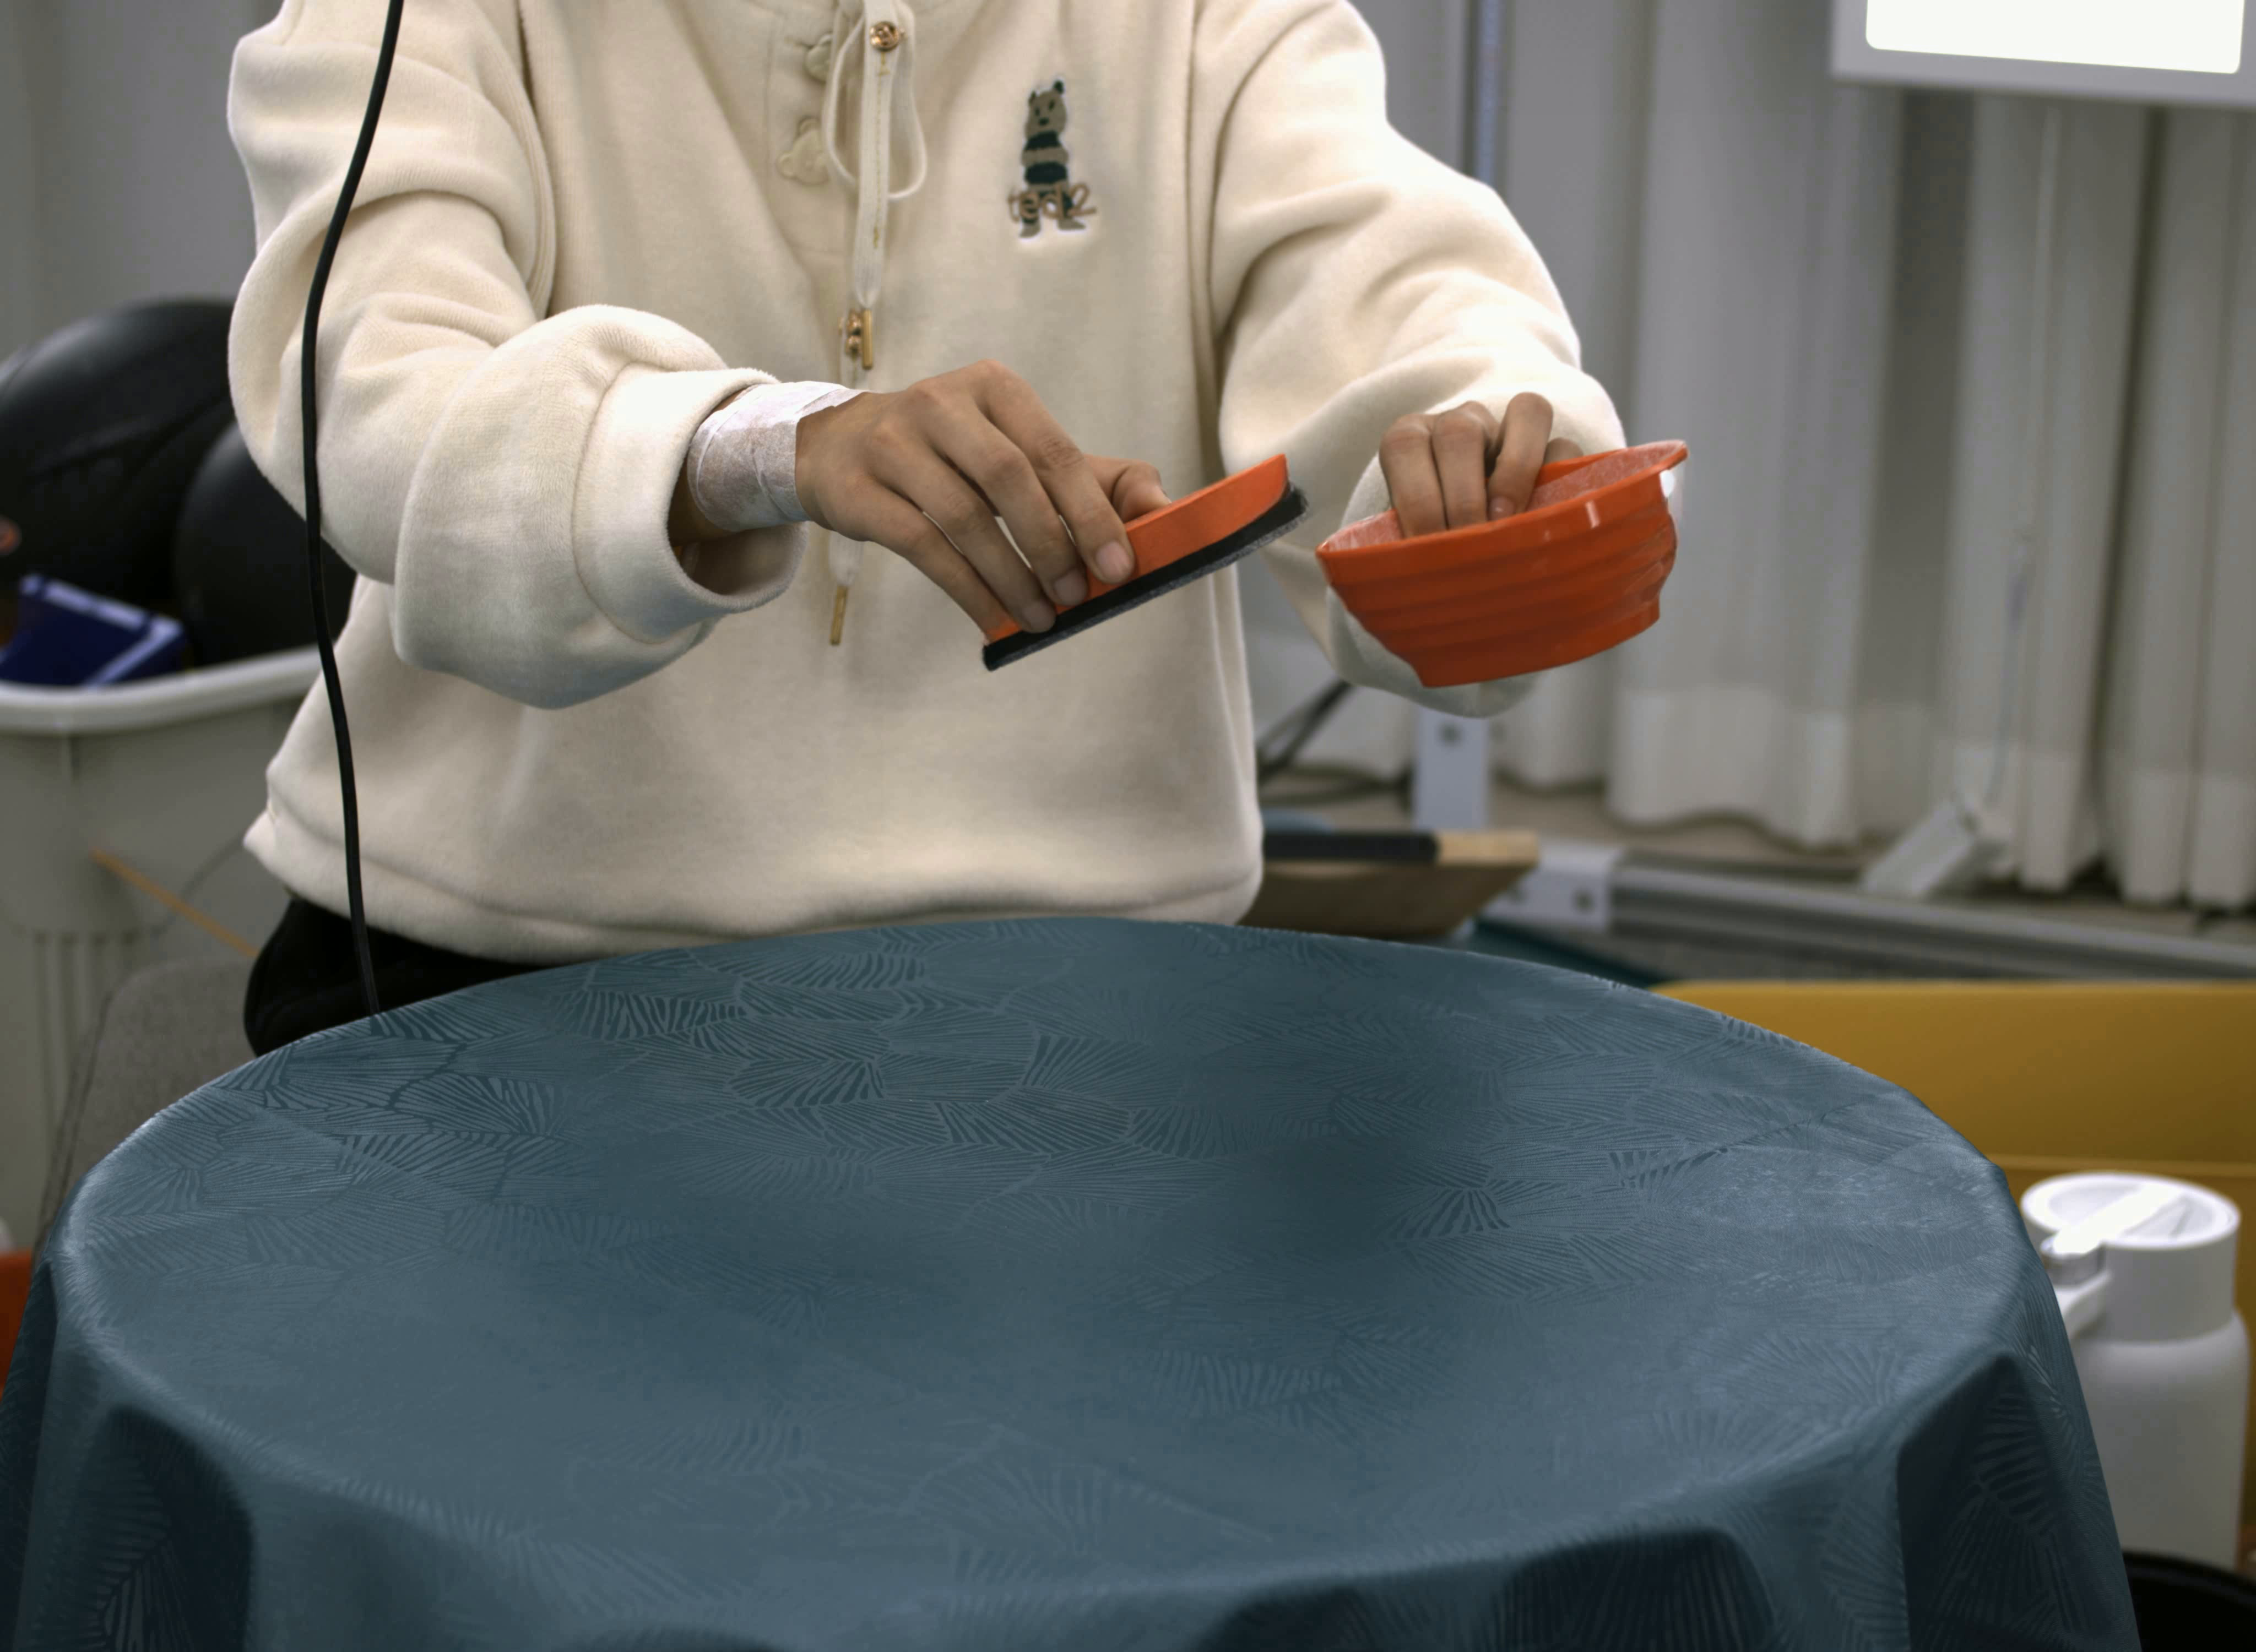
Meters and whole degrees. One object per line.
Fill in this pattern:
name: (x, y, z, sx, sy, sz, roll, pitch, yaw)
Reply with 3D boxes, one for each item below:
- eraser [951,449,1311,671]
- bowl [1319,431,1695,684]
eraser: (0.001, -0.081, 1.612, 0.107, 0.023, 0.059, -23, 8, 33)
bowl: (0.120, -0.078, 1.593, 0.118, 0.052, 0.118, -16, 9, 3)
